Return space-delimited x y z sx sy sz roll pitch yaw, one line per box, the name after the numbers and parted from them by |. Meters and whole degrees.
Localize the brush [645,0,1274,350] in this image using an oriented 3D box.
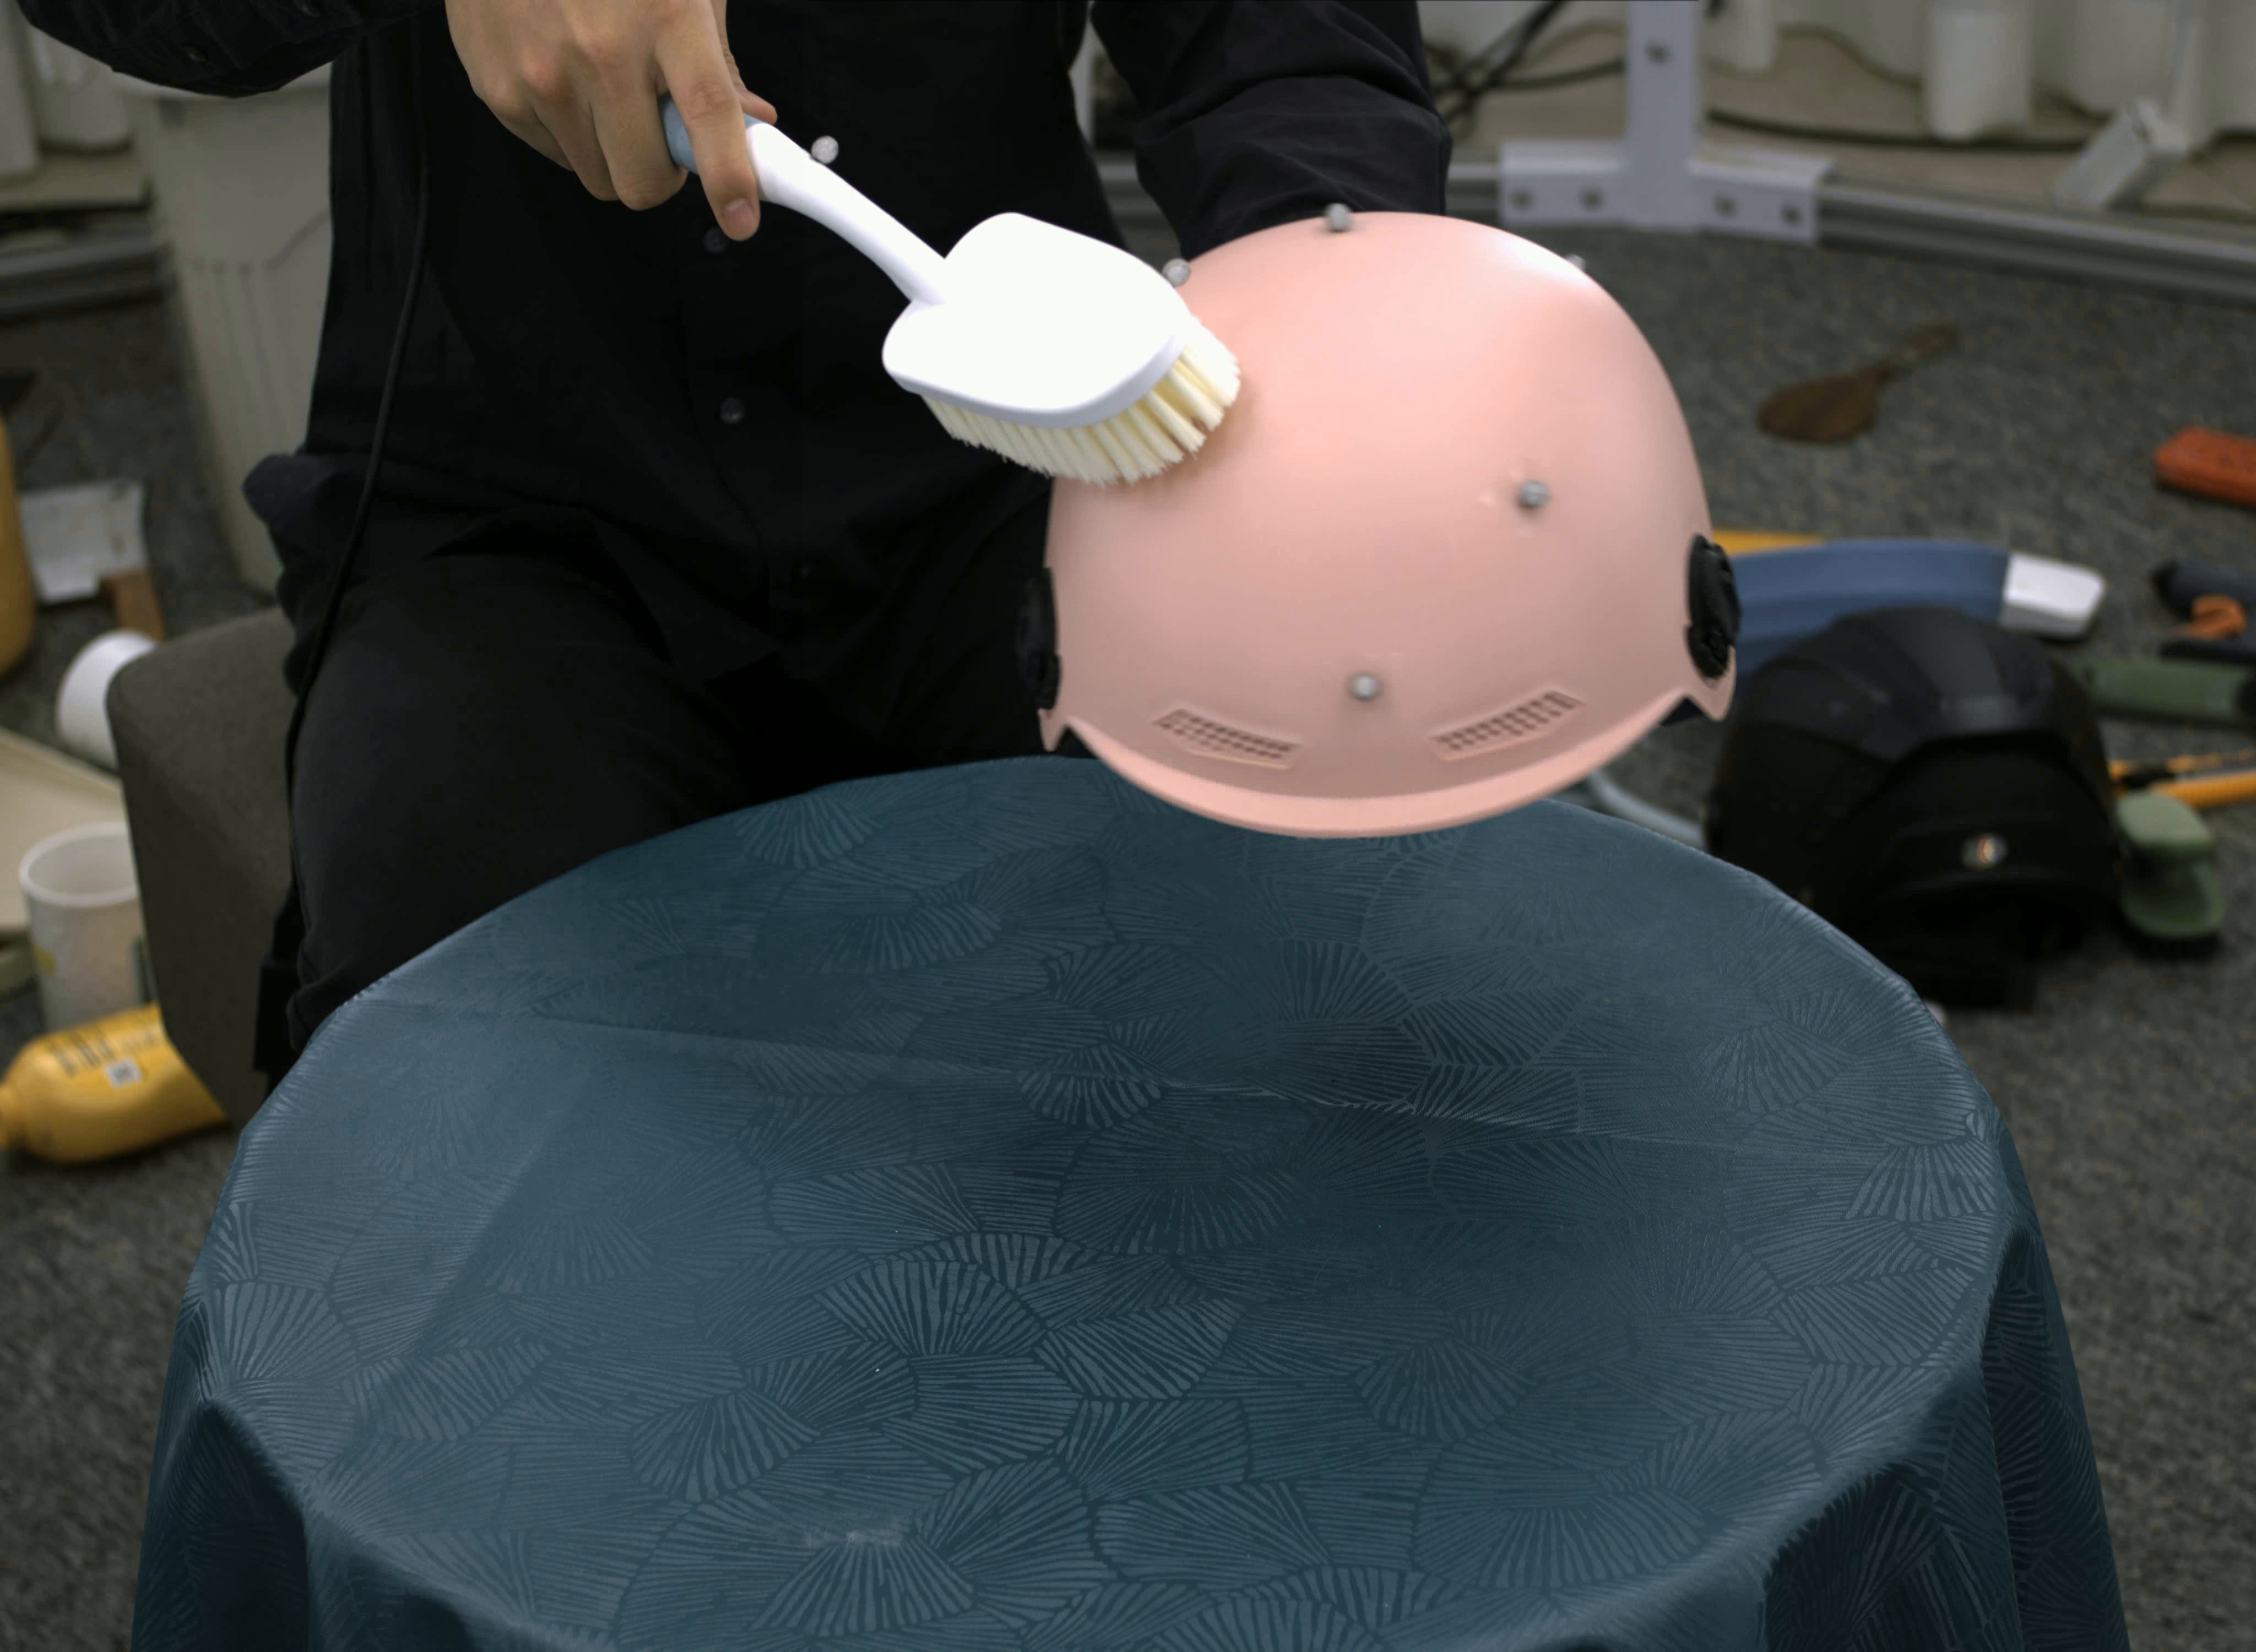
-0.070 -0.228 1.838 0.084 0.083 0.325 -21 37 -40 | brush

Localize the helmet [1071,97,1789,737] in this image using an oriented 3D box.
0.094 -0.146 1.824 0.232 0.157 0.270 -3 25 6 | helmet
